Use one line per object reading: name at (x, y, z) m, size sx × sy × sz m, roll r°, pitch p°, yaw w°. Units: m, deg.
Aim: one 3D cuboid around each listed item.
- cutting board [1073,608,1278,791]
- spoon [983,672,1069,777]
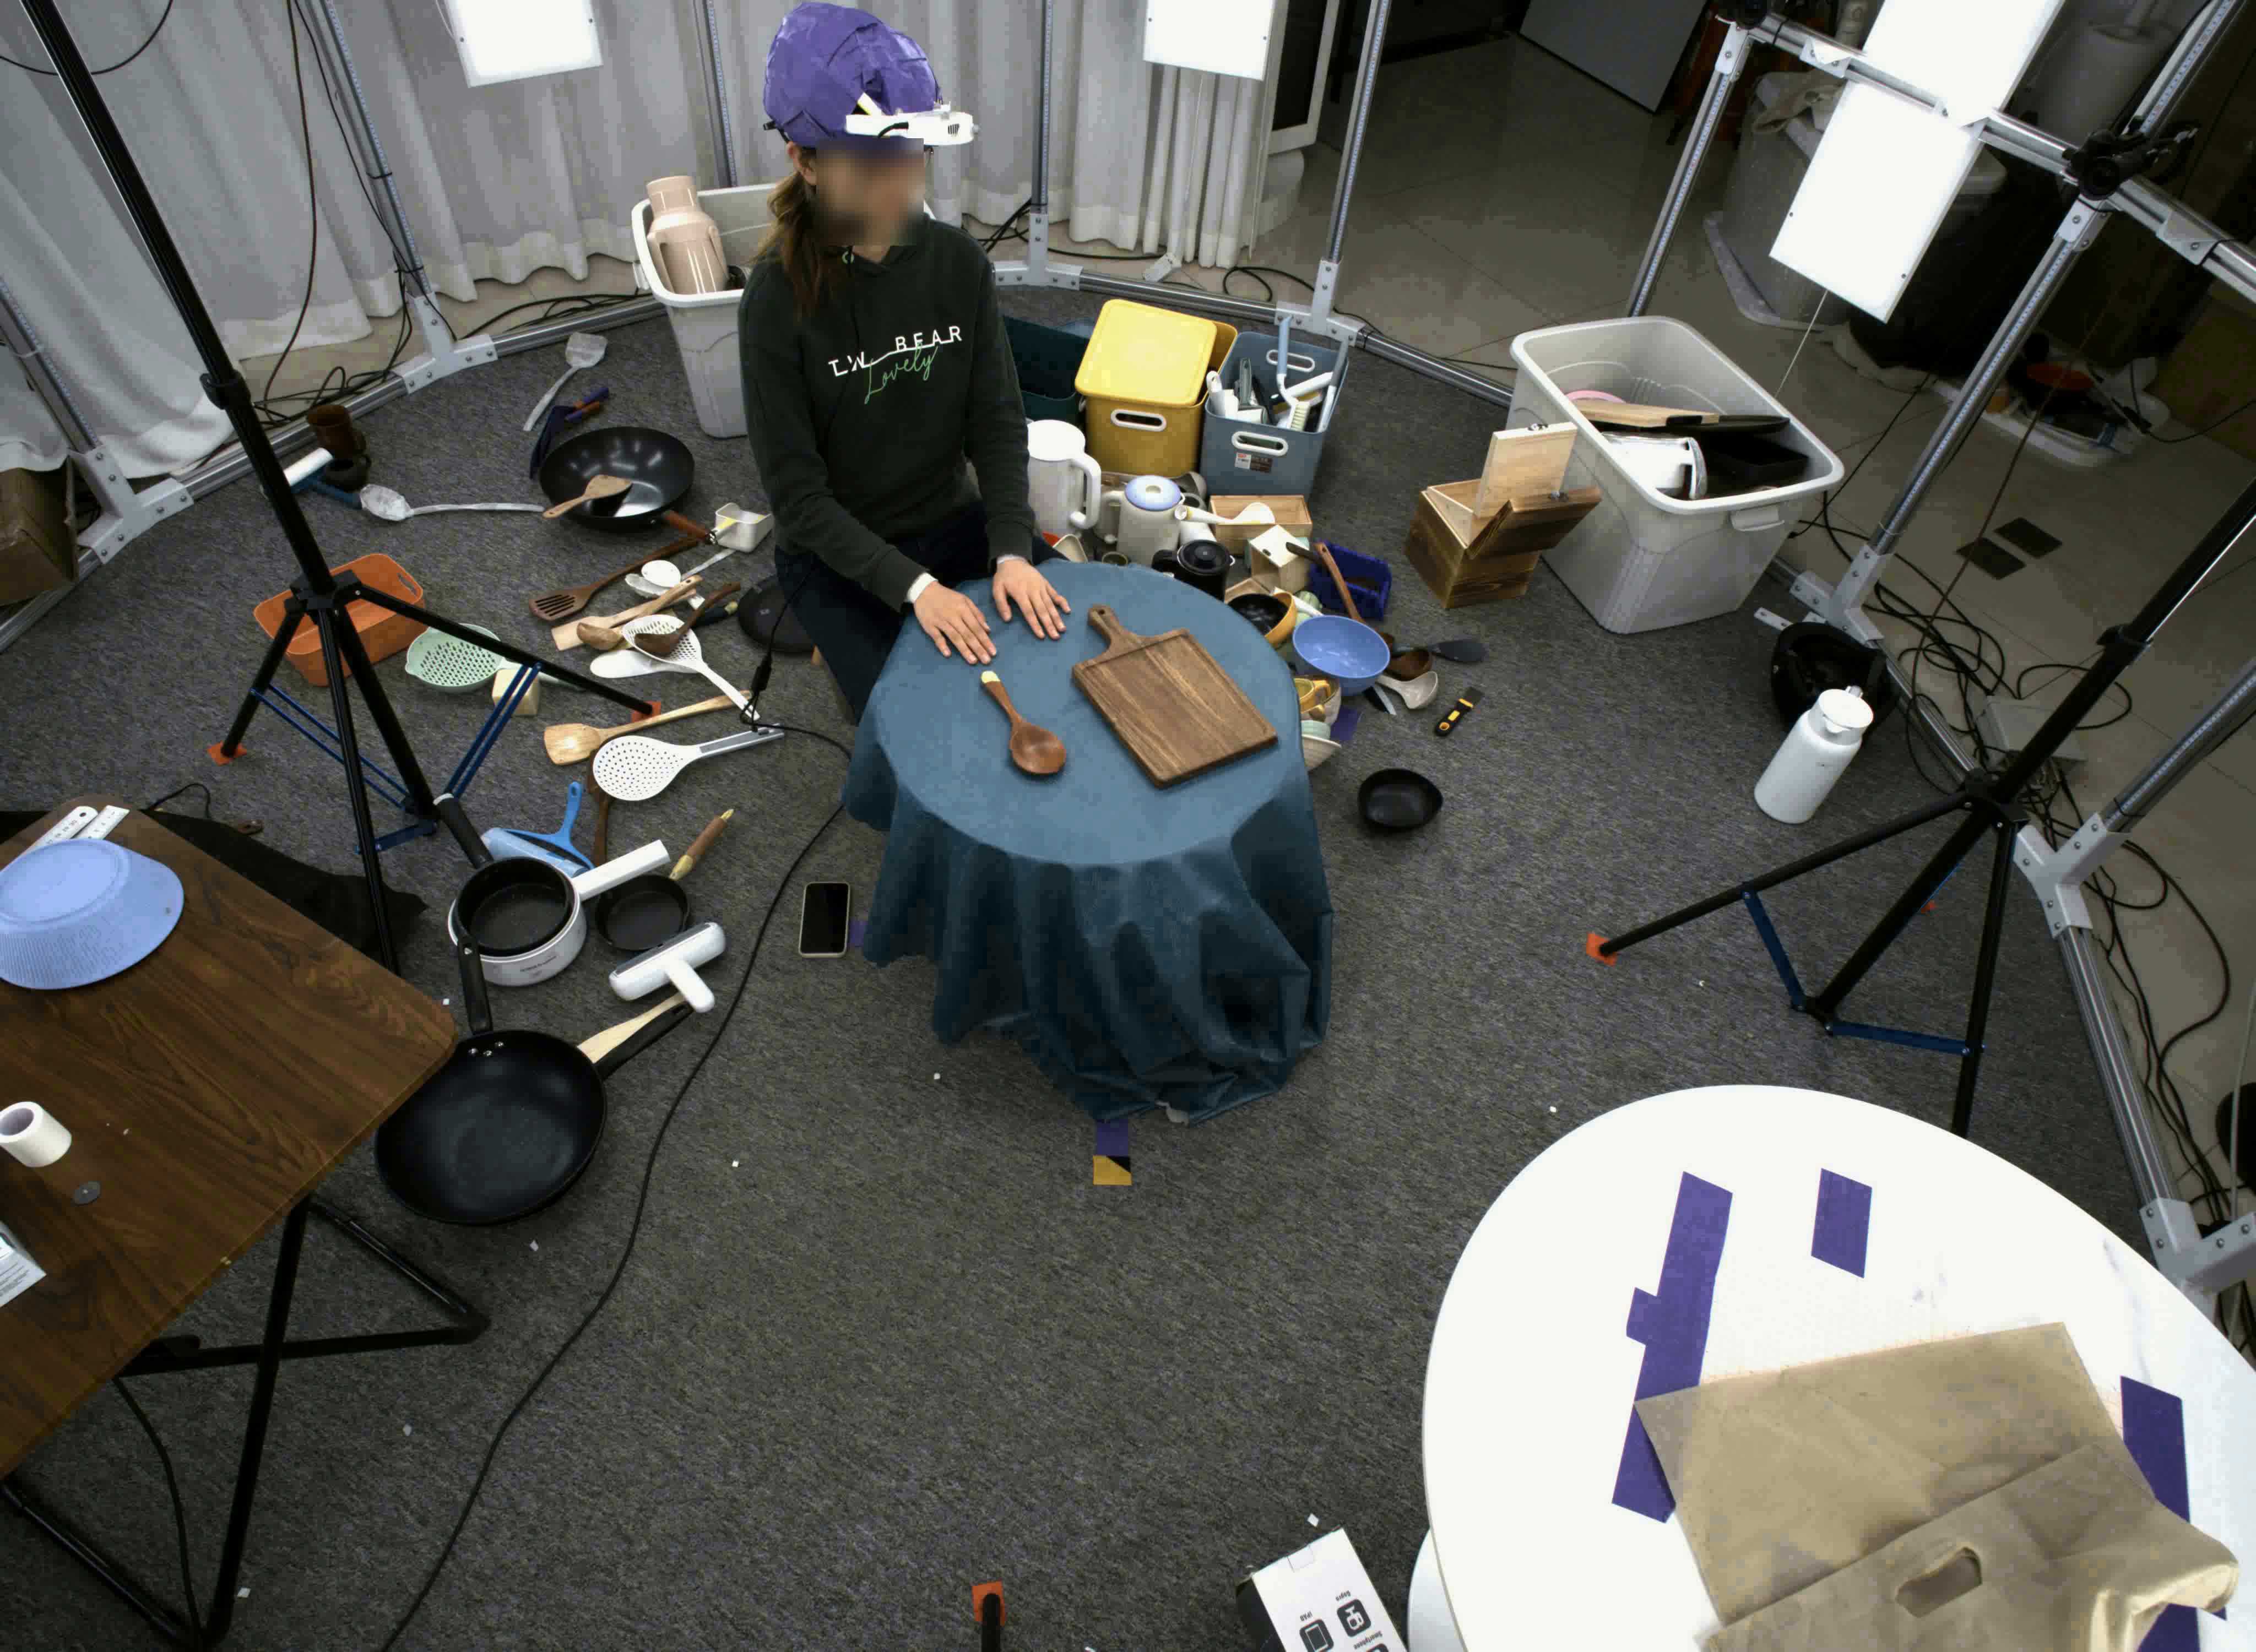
cutting board at (0.040, -0.204, 1.854) m, size 0.201 × 0.022 × 0.359 m, roll -22°, pitch 54°, yaw -20°
spoon at (-0.150, -0.143, 1.787) m, size 0.075 × 0.017 × 0.220 m, roll -21°, pitch 54°, yaw -18°
